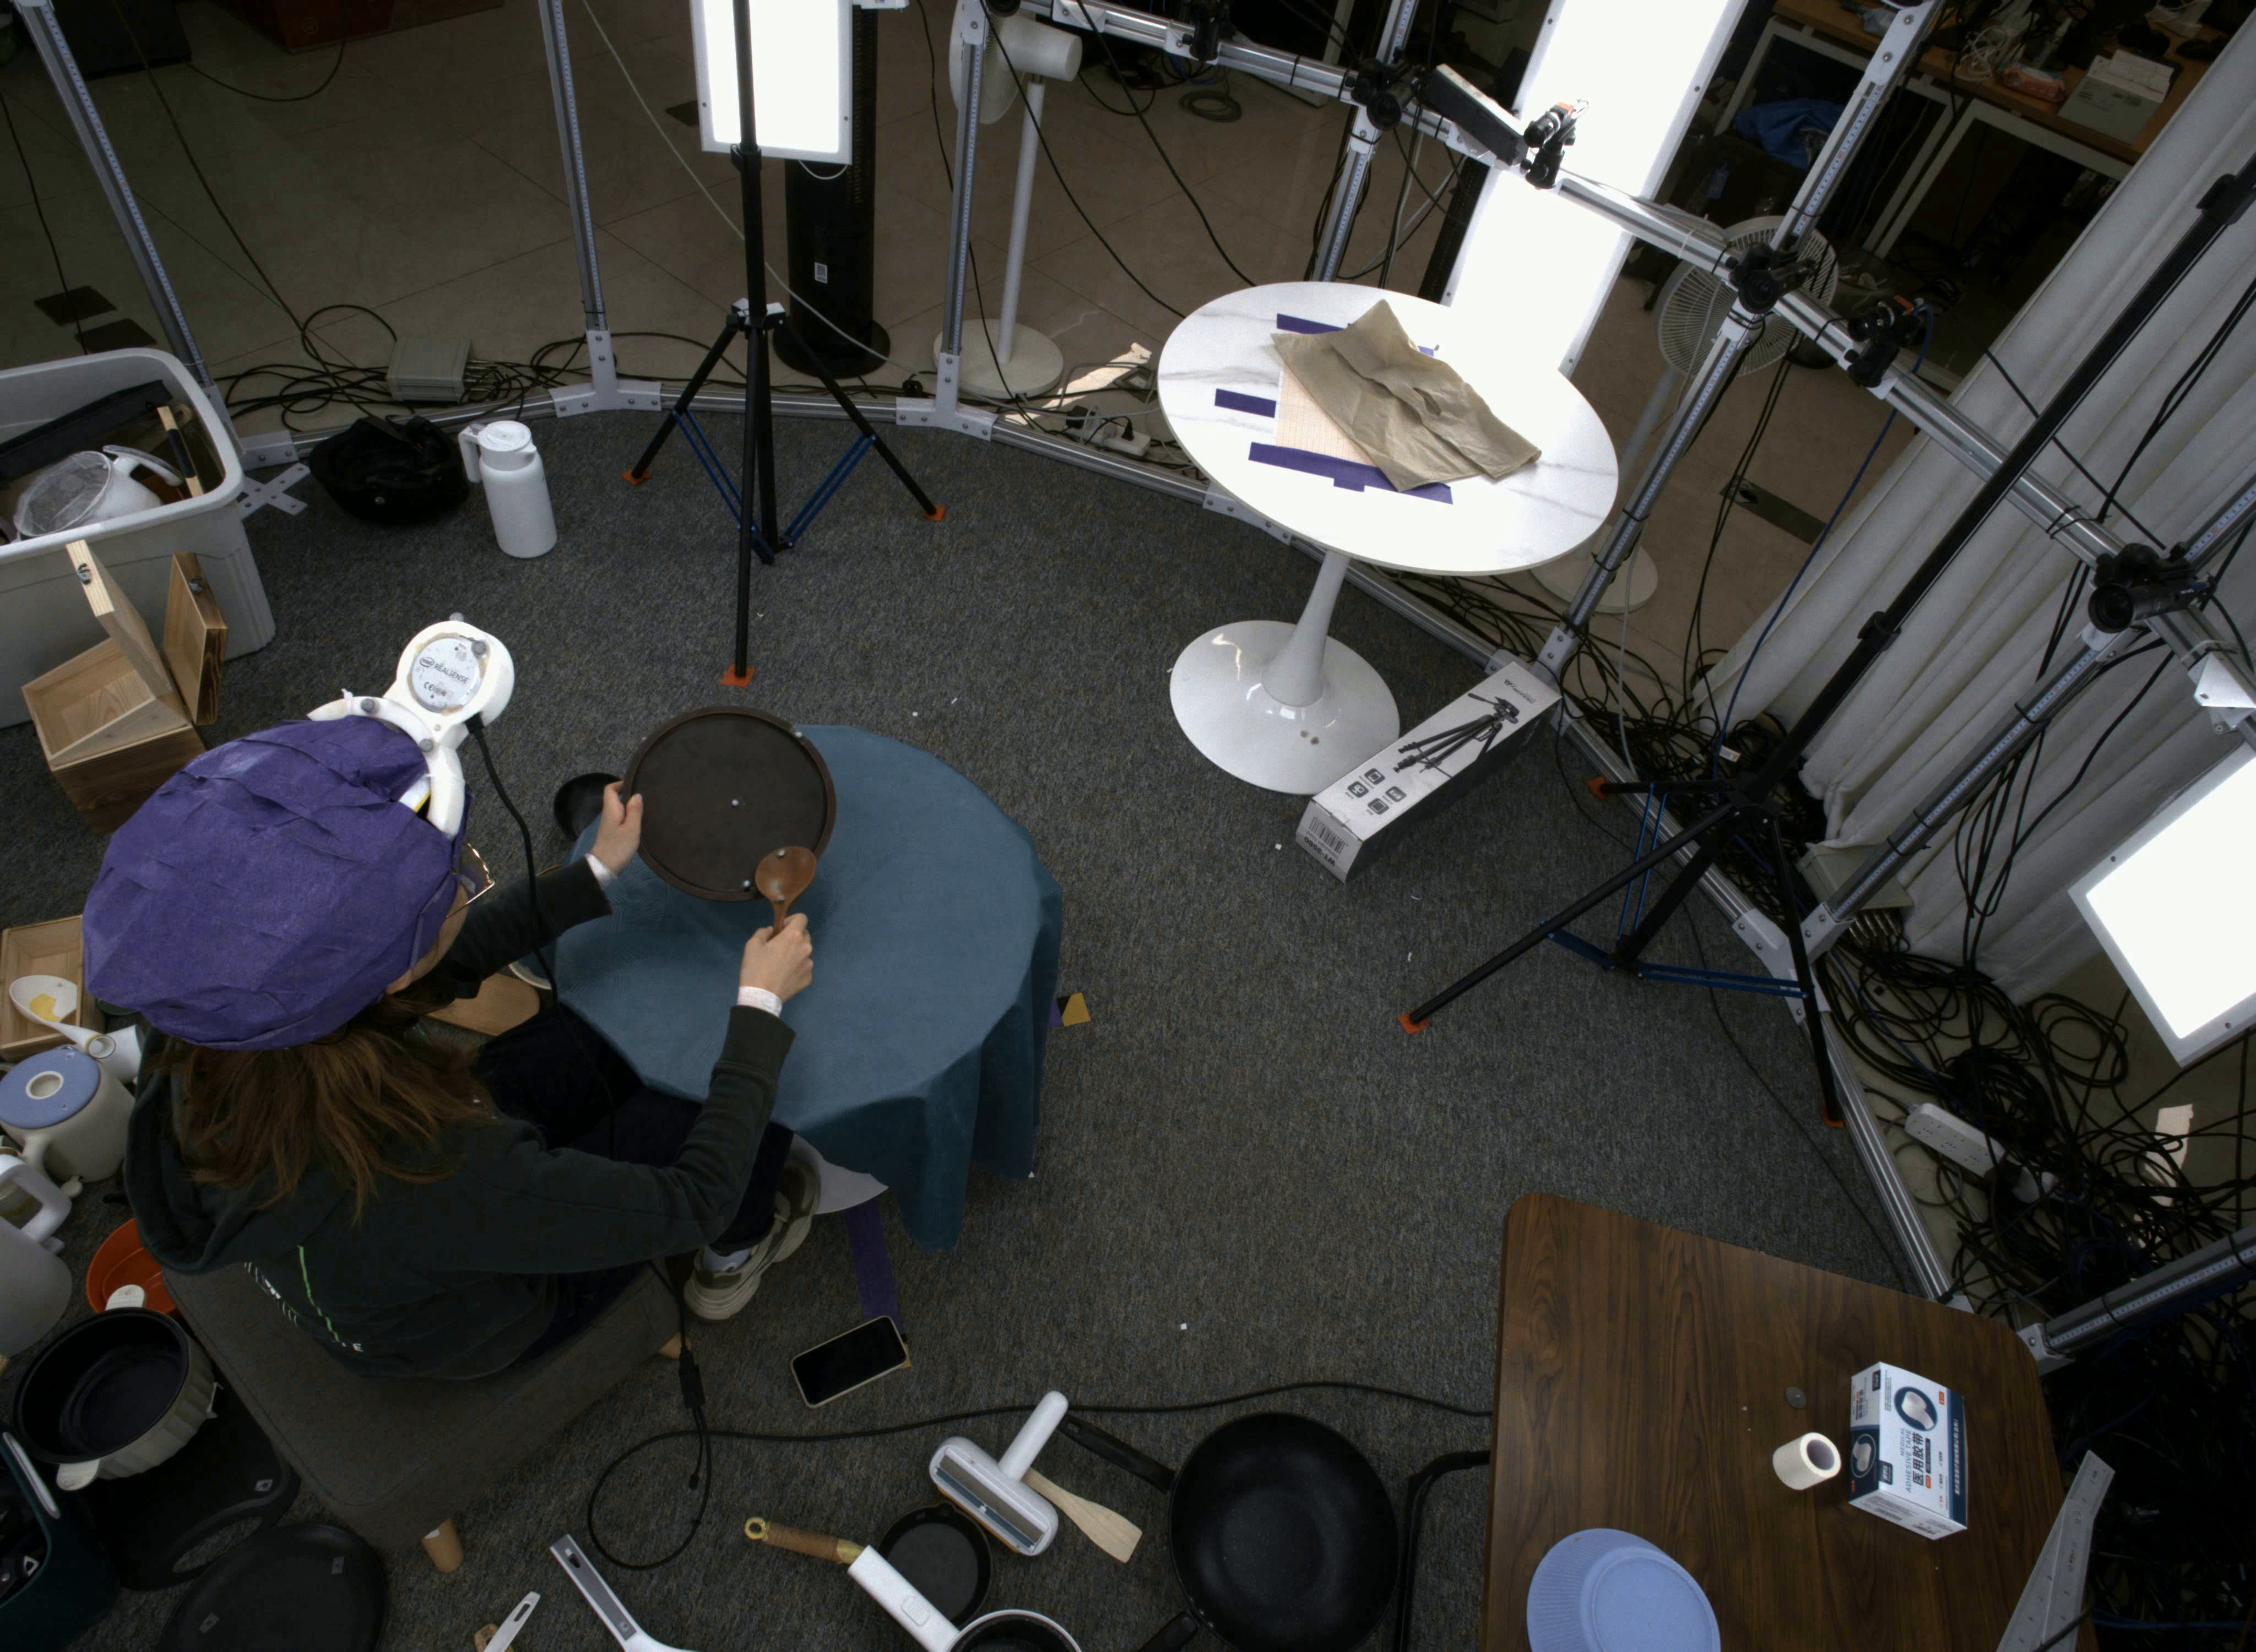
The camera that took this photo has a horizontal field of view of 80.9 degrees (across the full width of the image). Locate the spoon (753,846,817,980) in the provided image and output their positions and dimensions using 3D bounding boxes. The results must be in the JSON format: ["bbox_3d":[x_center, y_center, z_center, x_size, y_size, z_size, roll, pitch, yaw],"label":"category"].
[{"bbox_3d":[-0.399,0.095,1.492,0.075,0.018,0.210,-6,40,-4],"label":"spoon"}]

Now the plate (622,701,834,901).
[{"bbox_3d":[-0.485,-0.032,1.567,0.257,0.029,0.253,9,69,-20],"label":"plate"}]
